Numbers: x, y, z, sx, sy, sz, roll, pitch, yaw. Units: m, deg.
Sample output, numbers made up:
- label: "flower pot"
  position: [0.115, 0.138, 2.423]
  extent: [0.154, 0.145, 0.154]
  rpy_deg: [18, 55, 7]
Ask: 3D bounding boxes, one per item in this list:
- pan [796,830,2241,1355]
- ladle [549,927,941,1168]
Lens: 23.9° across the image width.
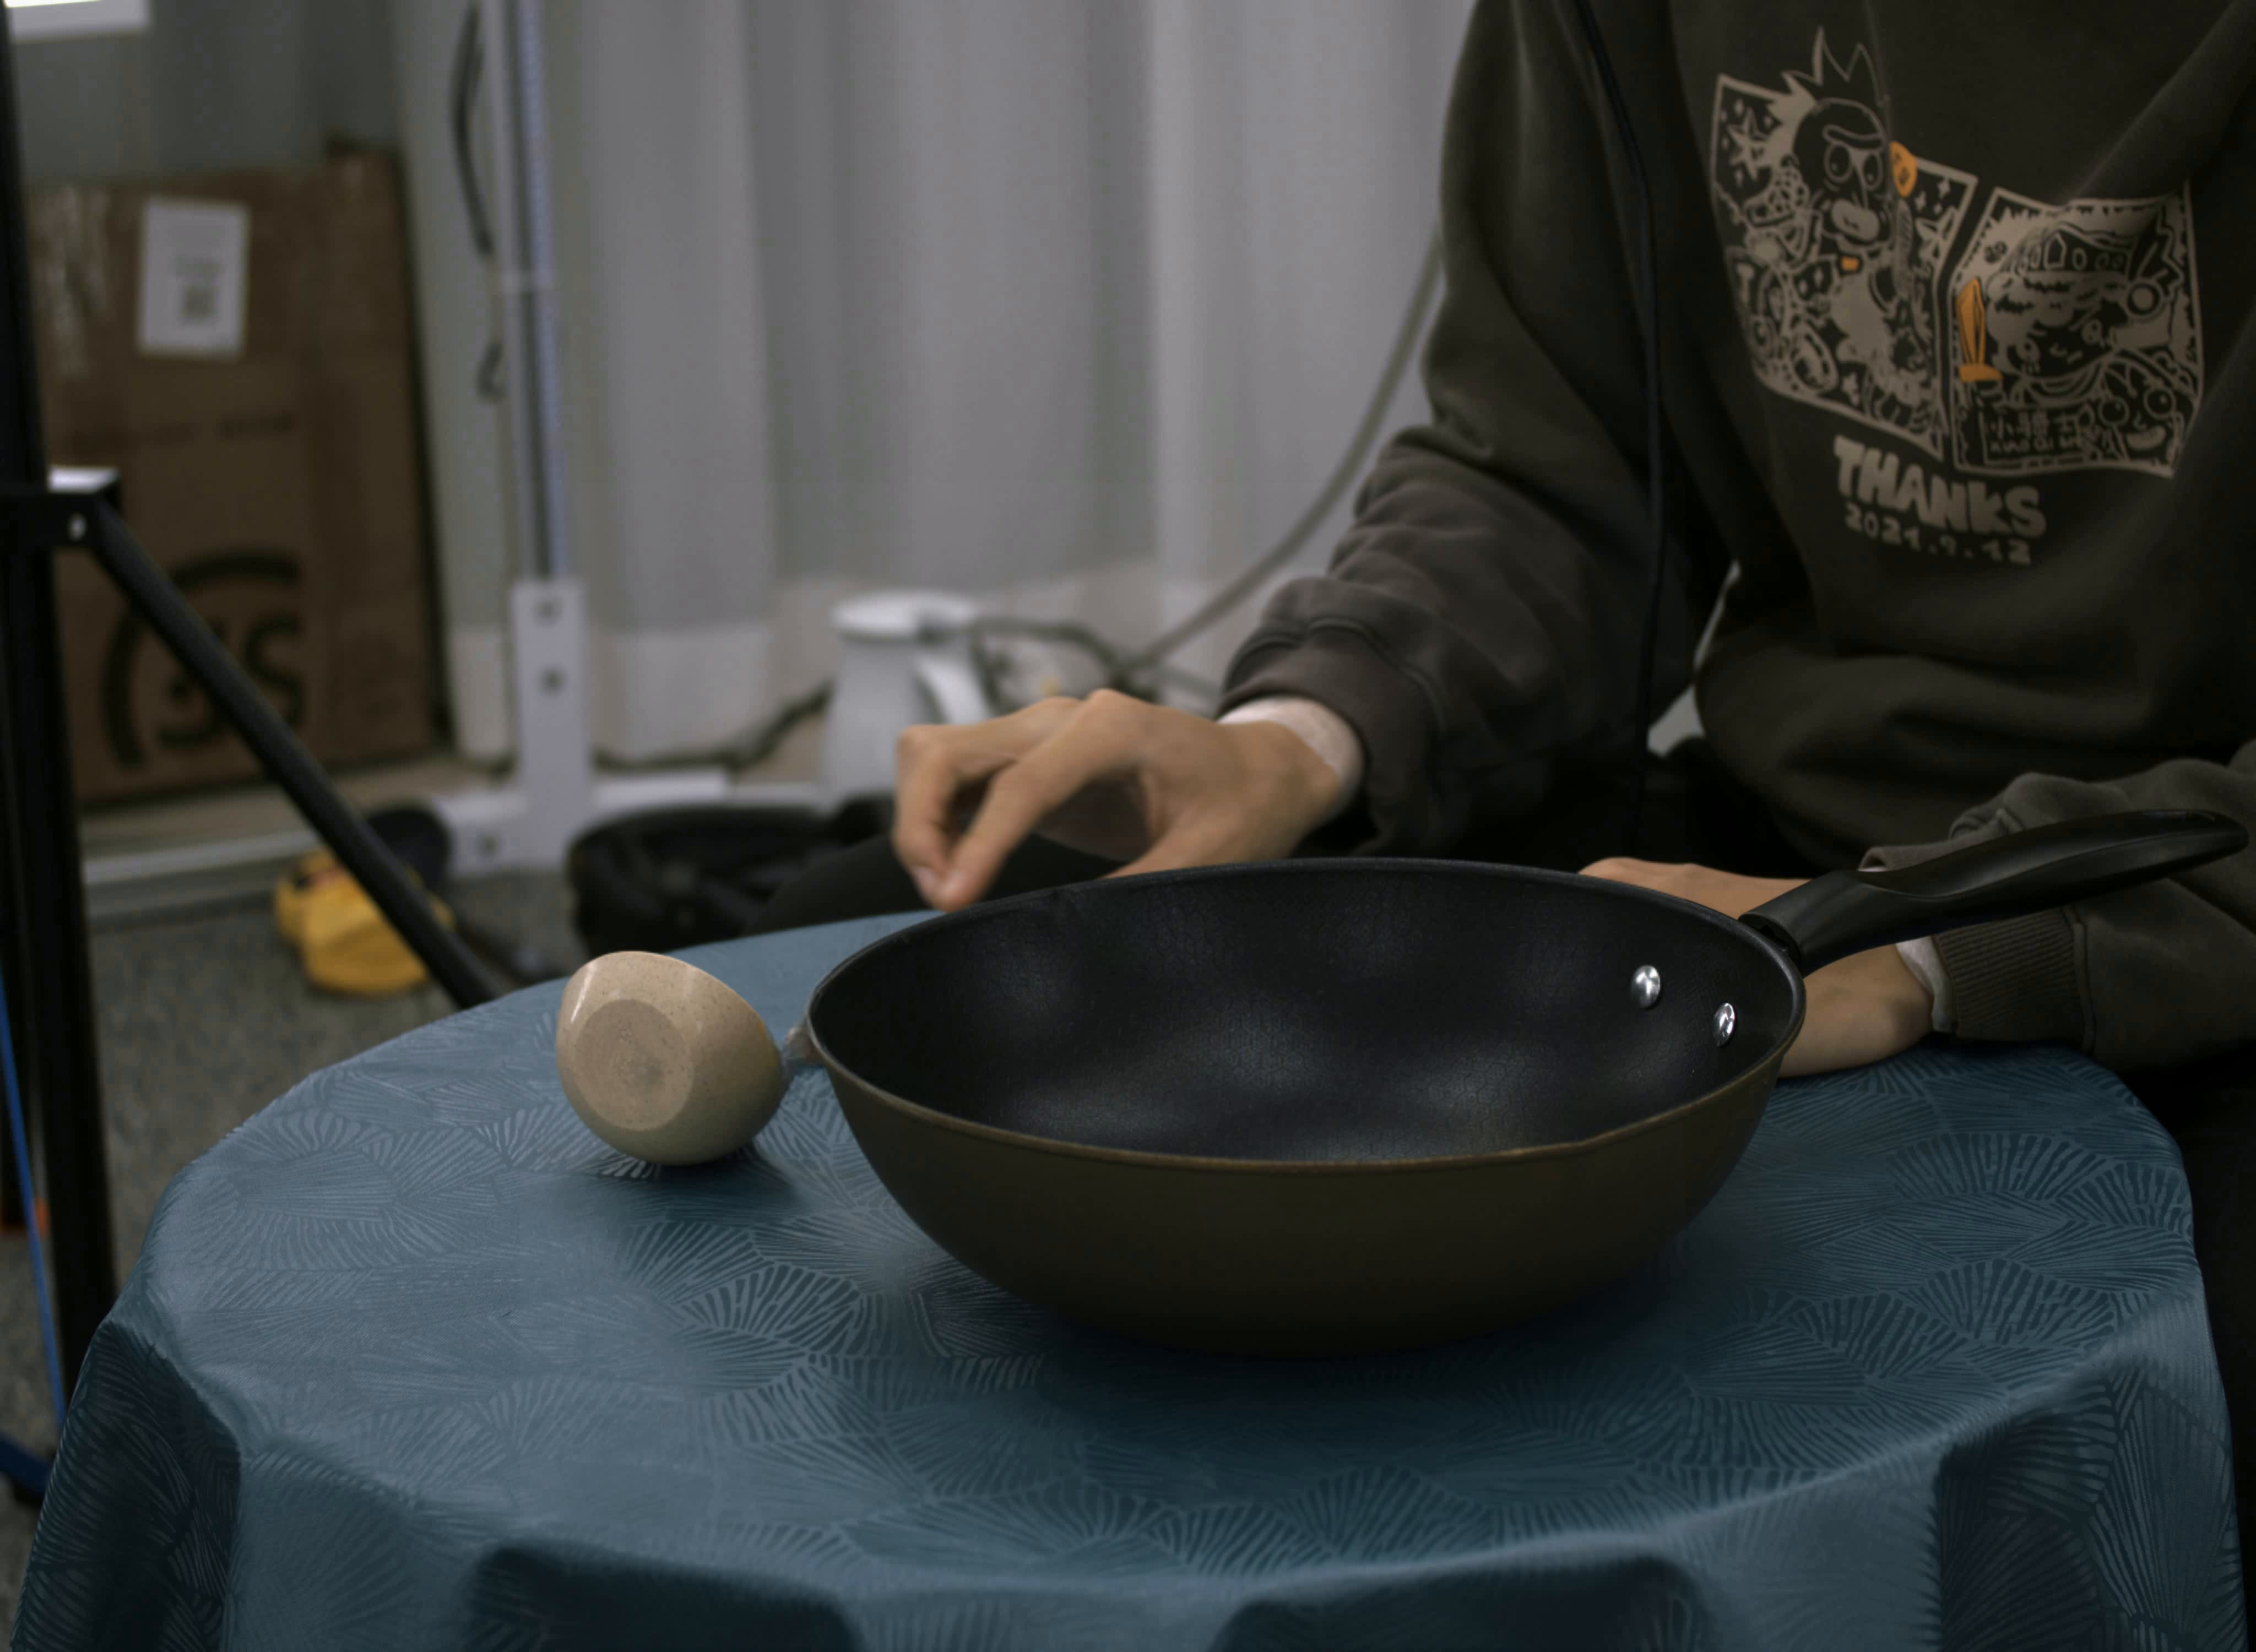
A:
- label: "pan"
  position: [0.128, 0.070, 1.523]
  extent: [0.453, 0.087, 0.294]
  rpy_deg: [-9, 17, -25]
- label: "ladle"
  position: [-0.109, 0.040, 1.688]
  extent: [0.073, 0.073, 0.252]
  rpy_deg: [-3, 16, 19]
